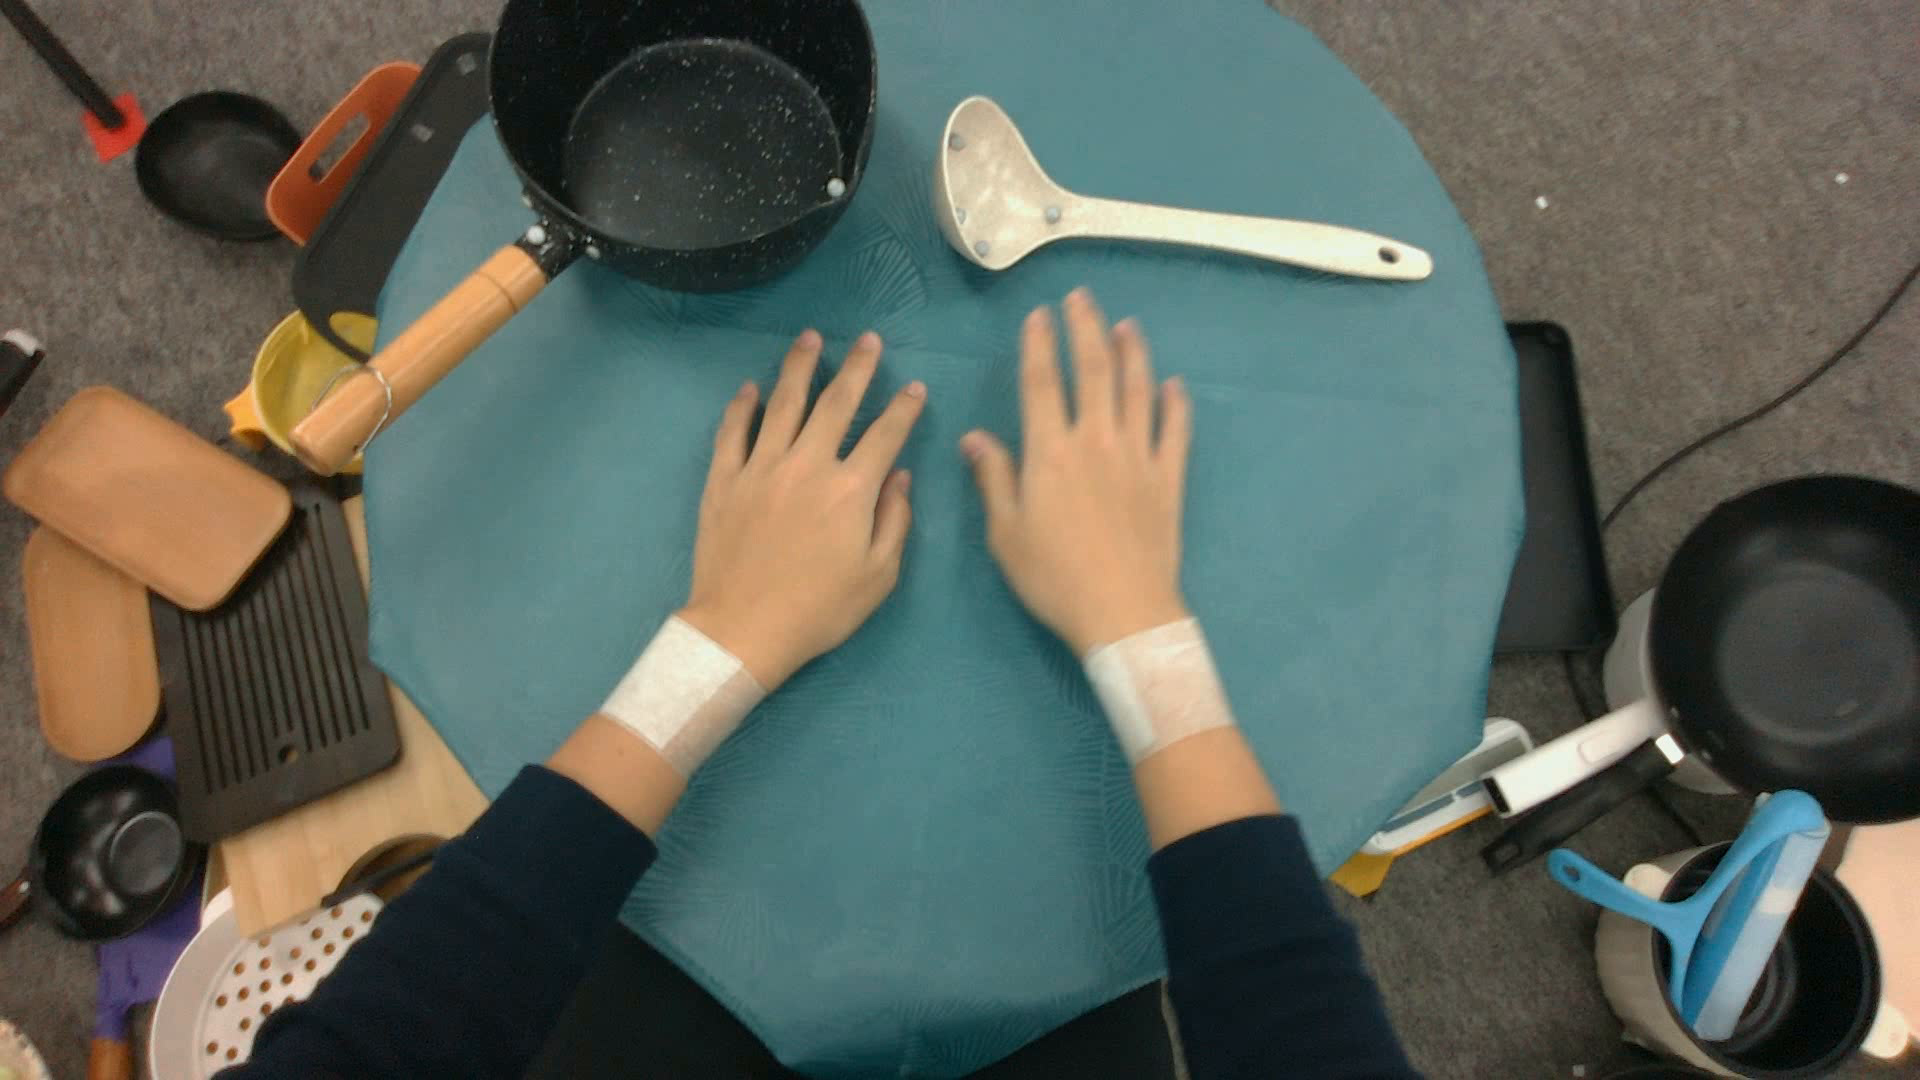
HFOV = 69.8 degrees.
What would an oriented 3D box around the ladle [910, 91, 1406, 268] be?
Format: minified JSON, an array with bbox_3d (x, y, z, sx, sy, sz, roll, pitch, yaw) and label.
[{"bbox_3d":[0.111,-0.180,0.720,0.275,0.069,0.089,5,66,-3],"label":"ladle"}]

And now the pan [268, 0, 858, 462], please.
[{"bbox_3d":[-0.188,-0.157,0.668,0.207,0.108,0.344,34,73,4],"label":"pan"}]
